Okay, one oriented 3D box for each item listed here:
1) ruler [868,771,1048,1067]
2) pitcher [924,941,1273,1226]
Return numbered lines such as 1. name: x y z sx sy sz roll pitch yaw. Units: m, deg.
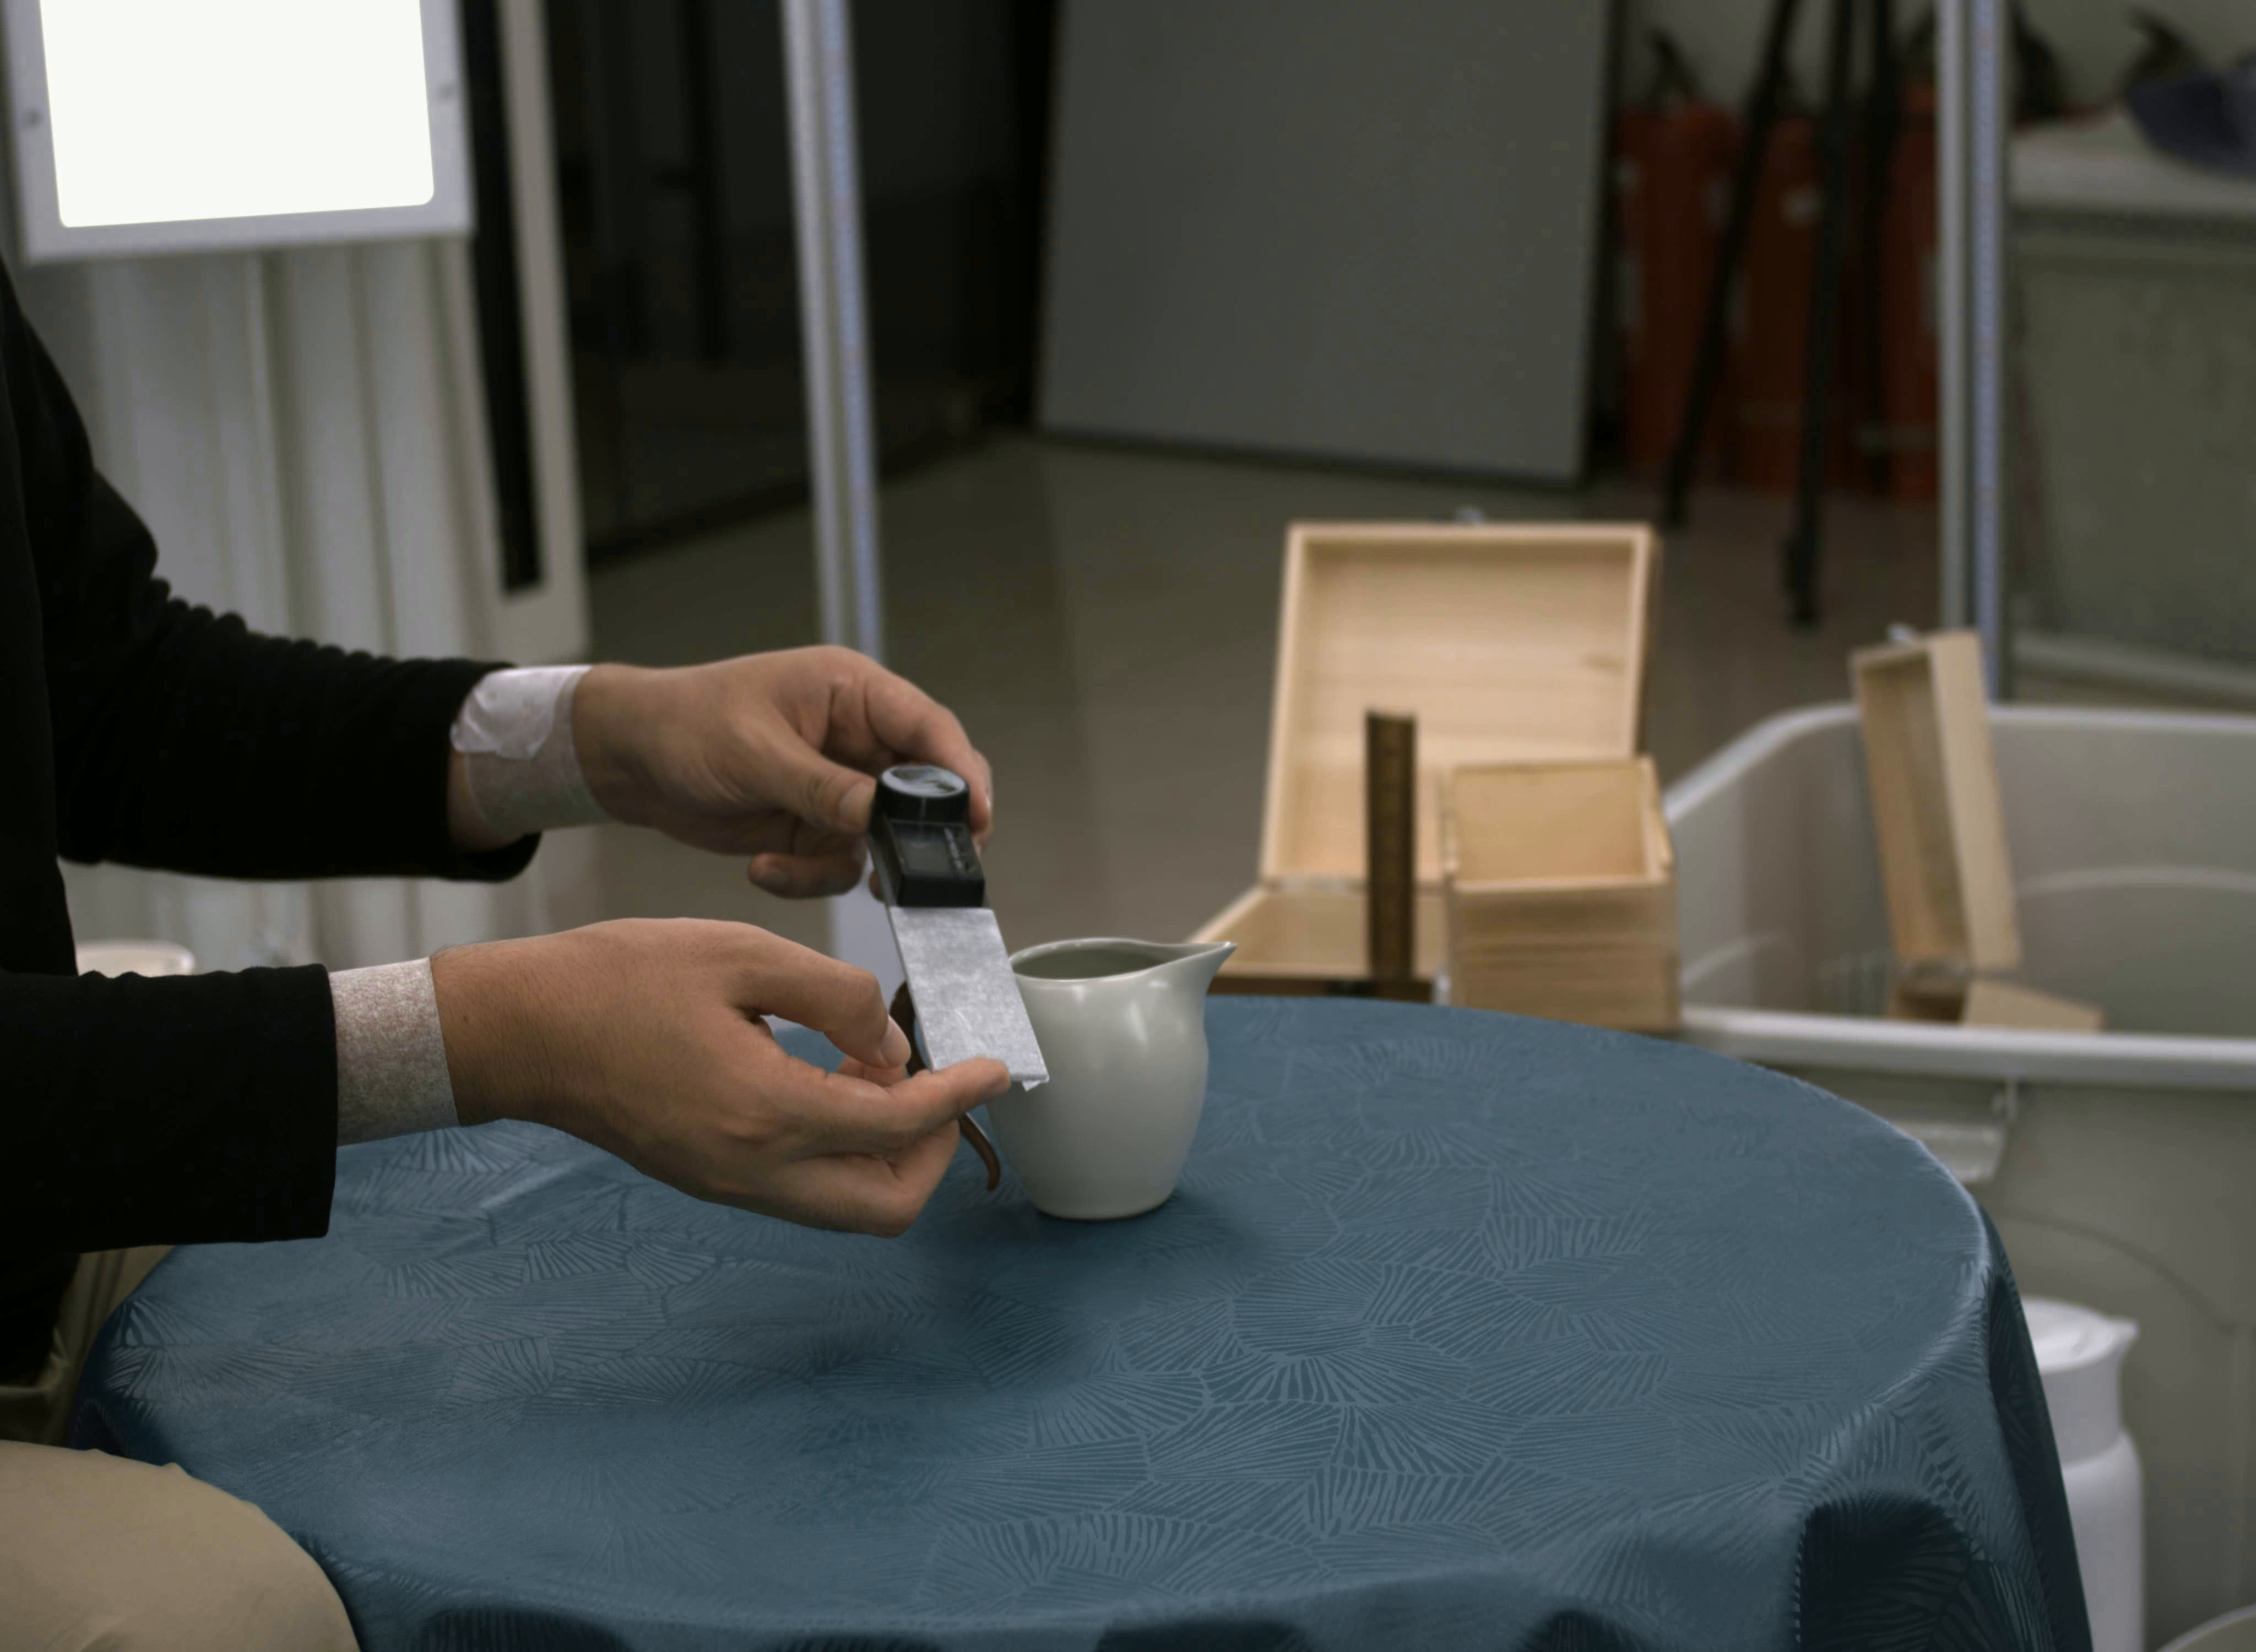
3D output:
1. ruler: -0.057 0.027 1.739 0.037 0.024 0.219 -4 20 -7
2. pitcher: -0.009 0.081 1.752 0.119 0.089 0.075 1 11 16
